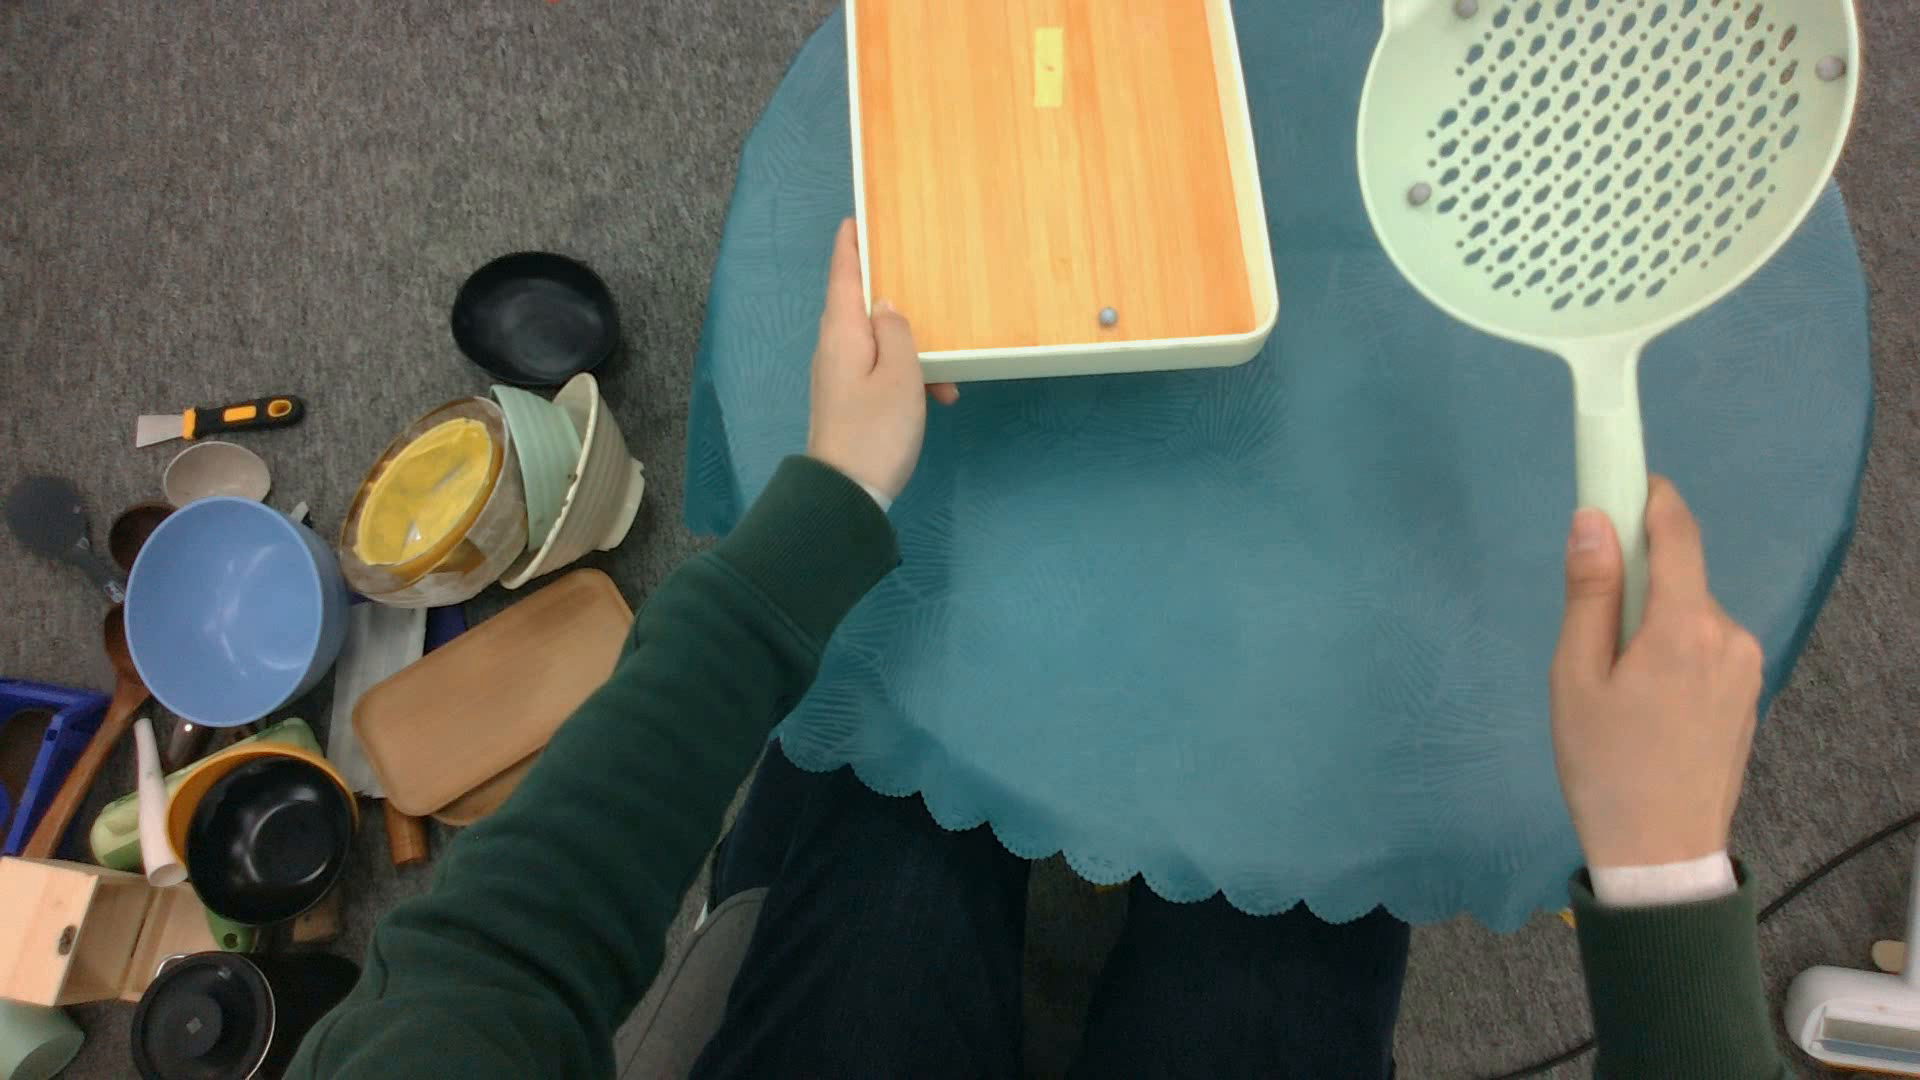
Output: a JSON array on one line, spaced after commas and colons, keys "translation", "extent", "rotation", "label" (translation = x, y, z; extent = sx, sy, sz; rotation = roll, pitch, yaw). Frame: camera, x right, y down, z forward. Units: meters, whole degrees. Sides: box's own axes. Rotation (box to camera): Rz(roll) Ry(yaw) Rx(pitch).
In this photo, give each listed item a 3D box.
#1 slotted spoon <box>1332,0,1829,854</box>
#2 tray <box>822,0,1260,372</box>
[{"translation": [0.233, -0.063, 0.512], "extent": [0.169, 0.075, 0.359], "rotation": [-5, 81, 37], "label": "slotted spoon"}, {"translation": [0.031, -0.225, 0.680], "extent": [0.191, 0.027, 0.301], "rotation": [-4, 68, -4], "label": "tray"}]
